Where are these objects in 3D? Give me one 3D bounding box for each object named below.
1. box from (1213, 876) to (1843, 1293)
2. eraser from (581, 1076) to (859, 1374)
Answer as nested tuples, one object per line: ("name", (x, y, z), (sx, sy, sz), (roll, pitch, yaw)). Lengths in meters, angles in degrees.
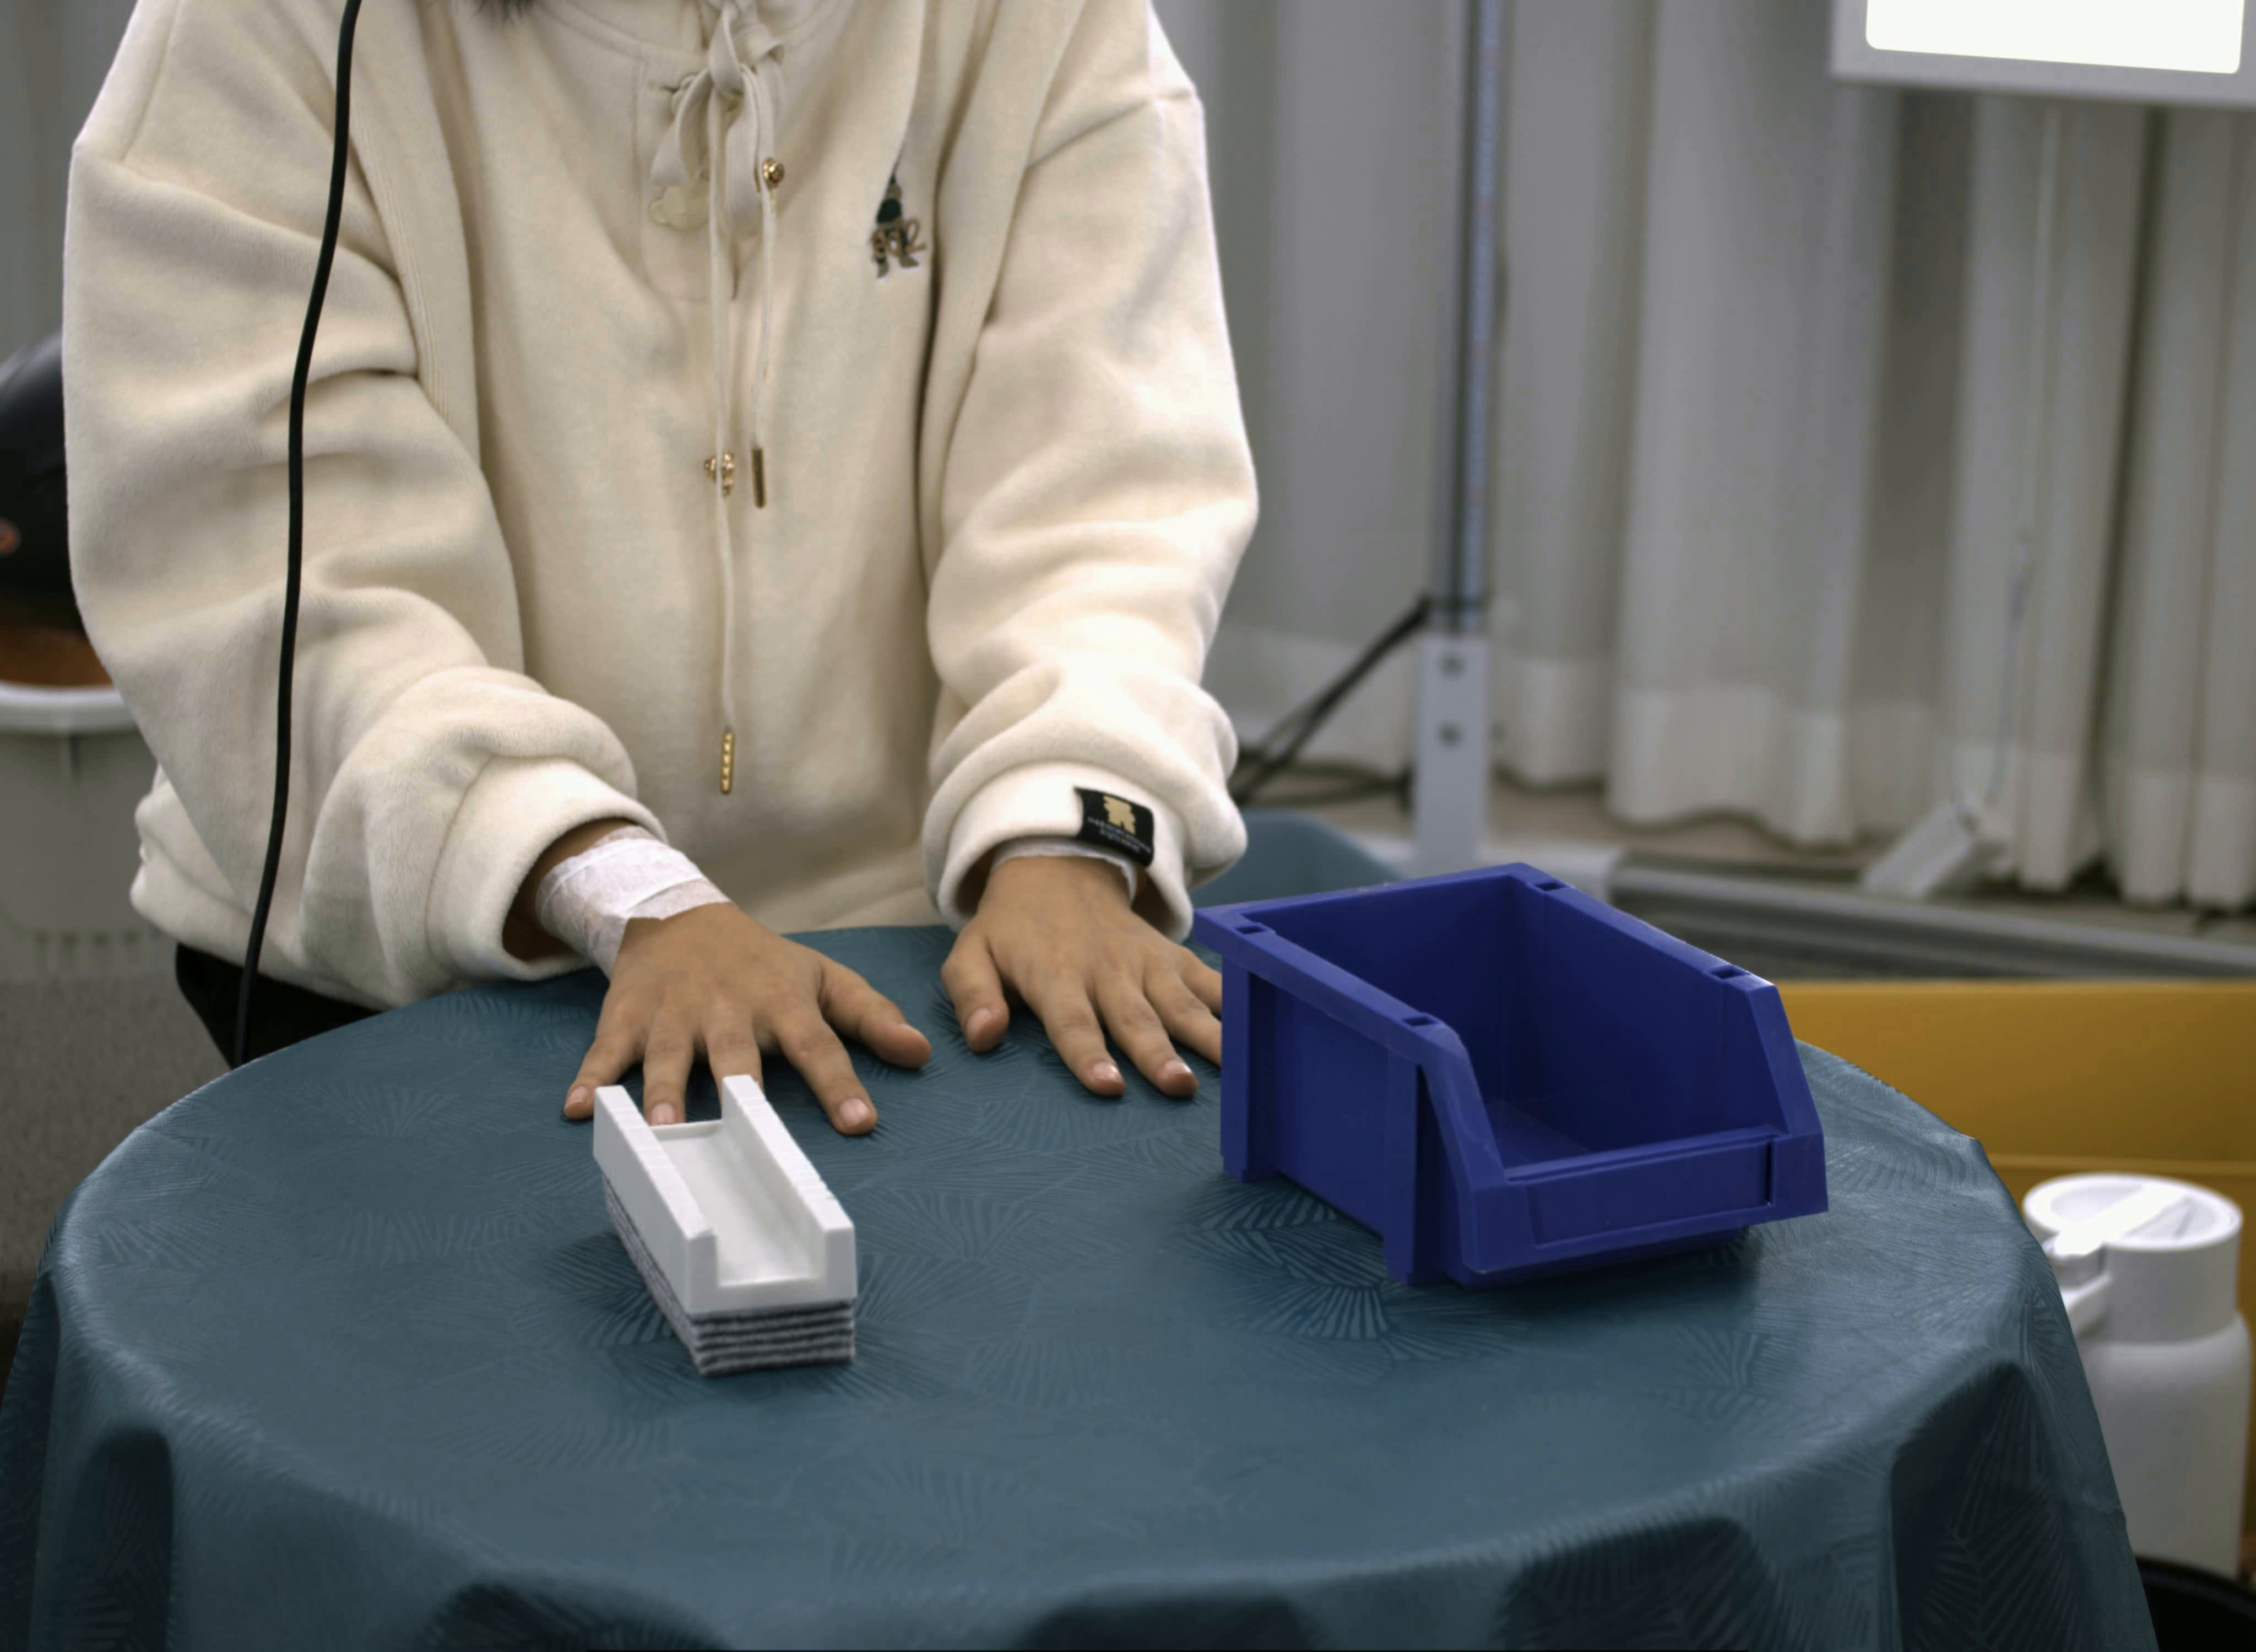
("box", (0.120, 0.080, 1.589), (0.125, 0.082, 0.177), (-7, 15, -25))
("eraser", (-0.119, 0.114, 1.523), (0.050, 0.047, 0.133), (-7, 19, -18))
